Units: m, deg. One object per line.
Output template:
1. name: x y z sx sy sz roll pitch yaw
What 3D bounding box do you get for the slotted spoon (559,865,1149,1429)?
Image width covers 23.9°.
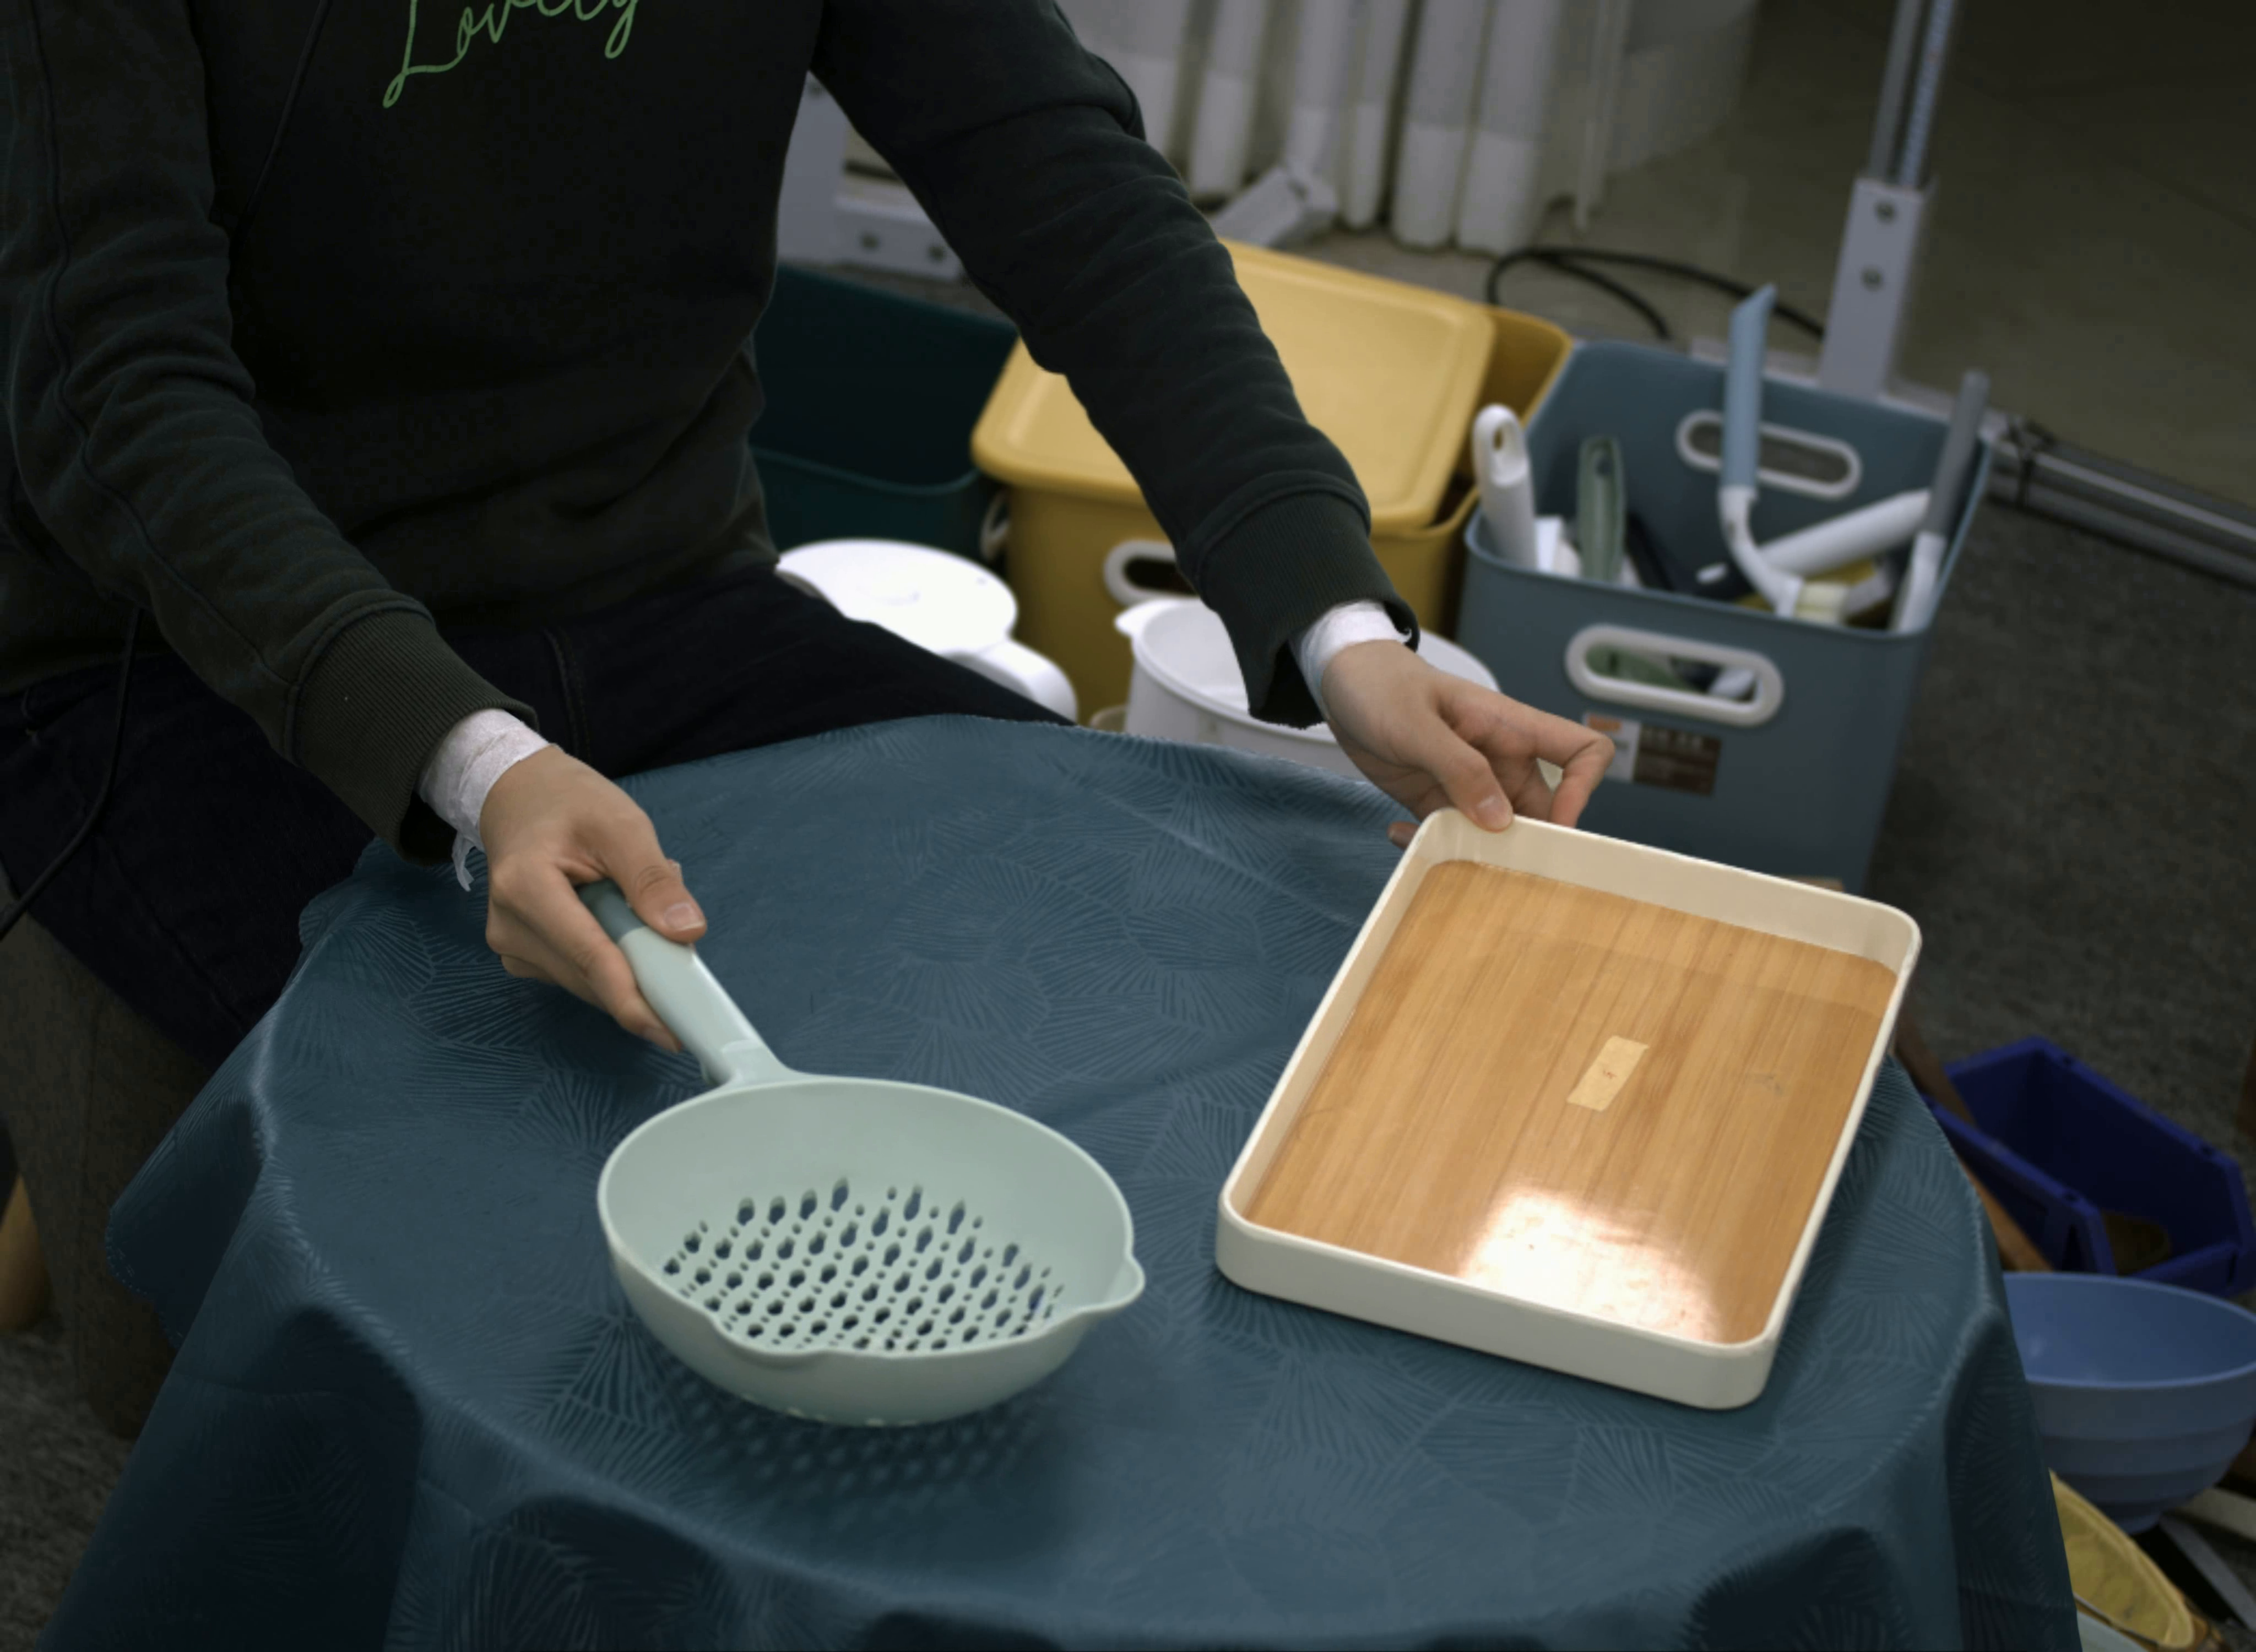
1. slotted spoon: -0.123 0.089 1.747 0.168 0.075 0.362 -5 36 -24

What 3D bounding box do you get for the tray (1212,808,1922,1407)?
1. tray: 0.158 0.091 1.848 0.192 0.027 0.301 13 31 13
